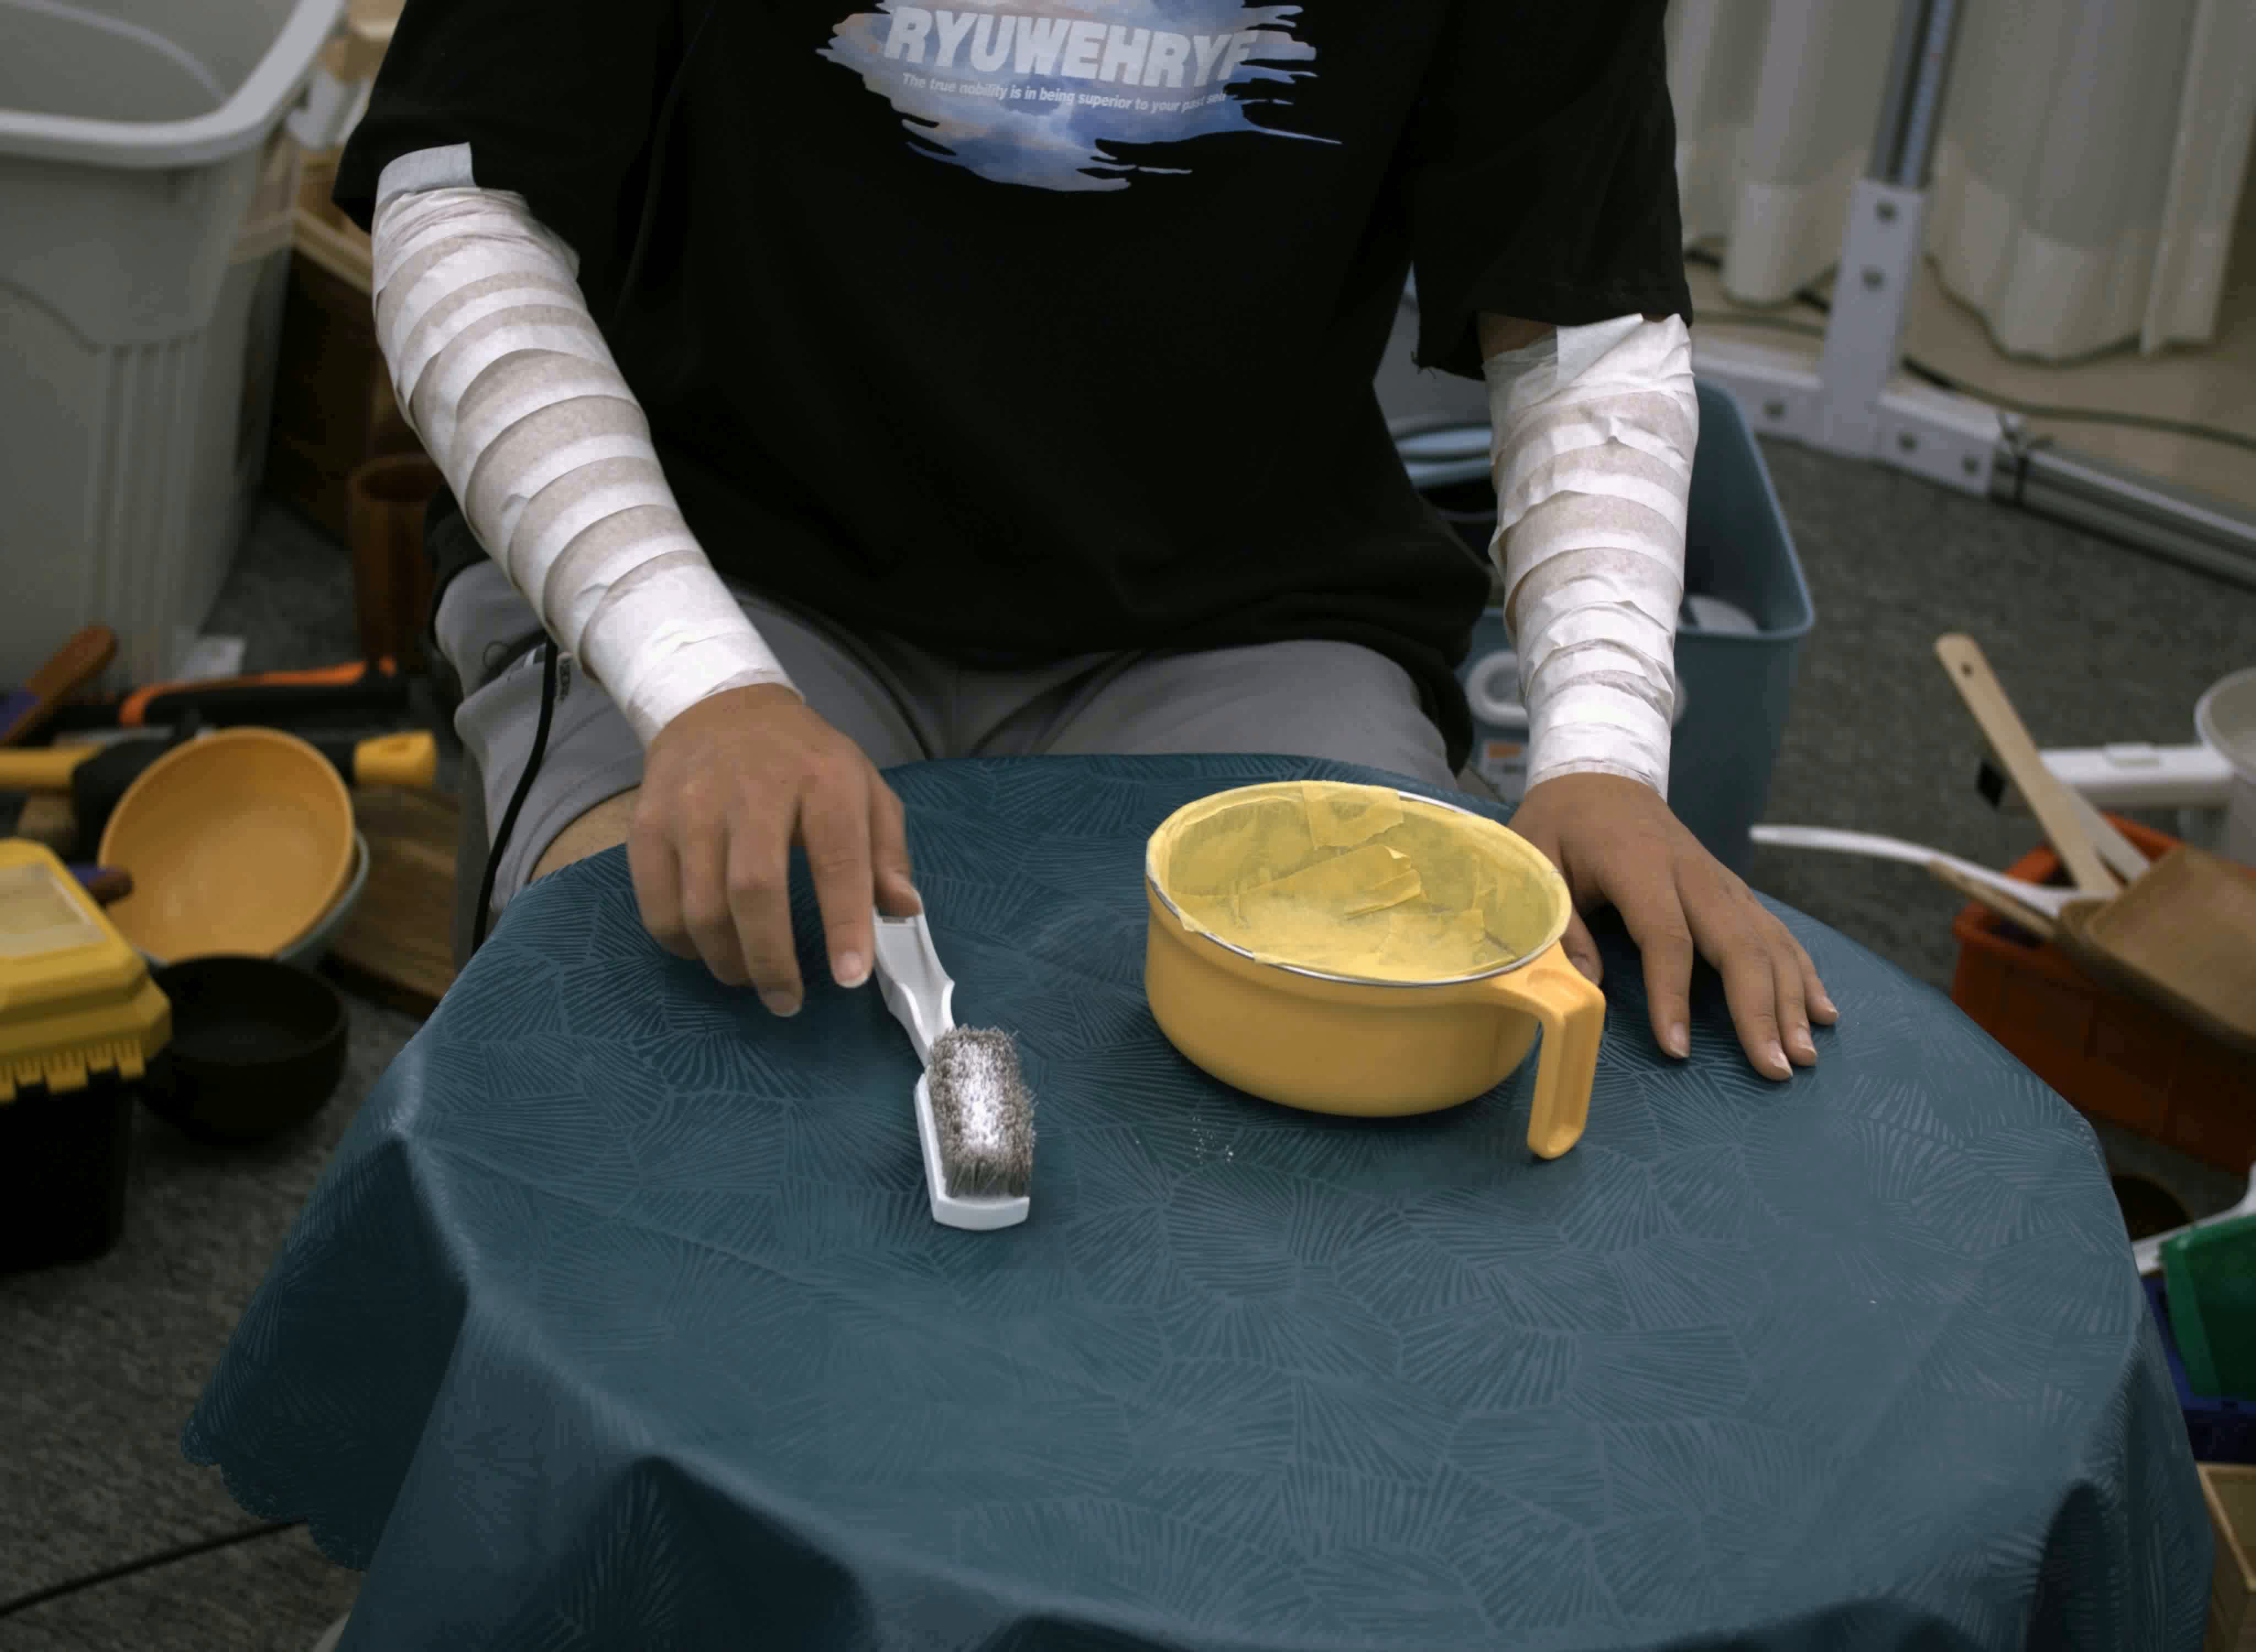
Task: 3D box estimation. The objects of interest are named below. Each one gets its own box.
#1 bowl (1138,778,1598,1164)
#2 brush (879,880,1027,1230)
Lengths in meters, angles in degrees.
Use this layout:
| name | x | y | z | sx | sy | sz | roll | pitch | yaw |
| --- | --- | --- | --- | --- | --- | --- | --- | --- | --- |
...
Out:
| name | x | y | z | sx | sy | sz | roll | pitch | yaw |
| --- | --- | --- | --- | --- | --- | --- | --- | --- | --- |
| bowl | 0.086 | 0.053 | 1.890 | 0.180 | 0.074 | 0.152 | 24 | 30 | 32 |
| brush | -0.064 | 0.062 | 1.857 | 0.034 | 0.050 | 0.245 | 1 | 27 | -9 |
